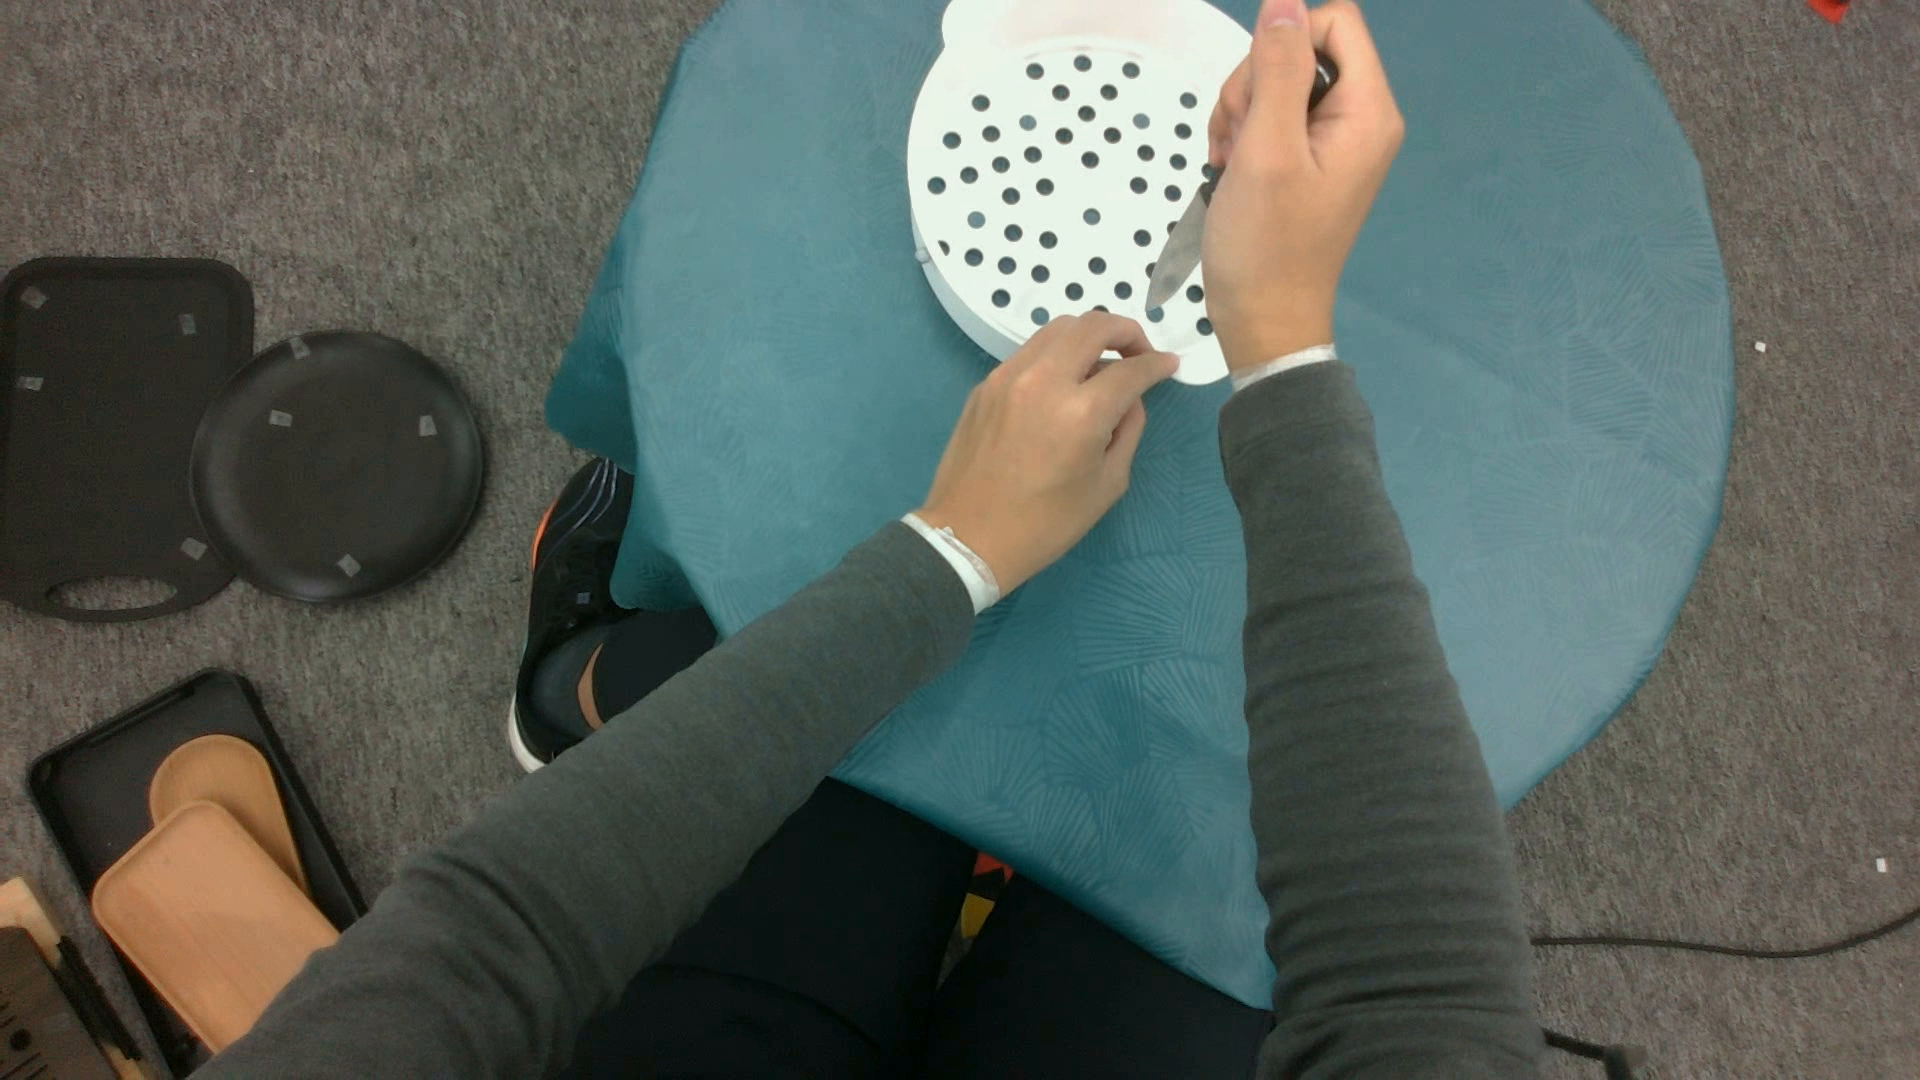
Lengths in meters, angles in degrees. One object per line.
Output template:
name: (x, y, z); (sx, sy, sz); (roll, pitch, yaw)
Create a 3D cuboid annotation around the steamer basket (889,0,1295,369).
steamer basket: (0.063, -0.186, 0.700); (0.202, 0.069, 0.230); (-32, 86, -9)

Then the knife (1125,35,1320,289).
knife: (0.106, -0.151, 0.604); (0.016, 0.237, 0.024); (-19, 83, -12)
